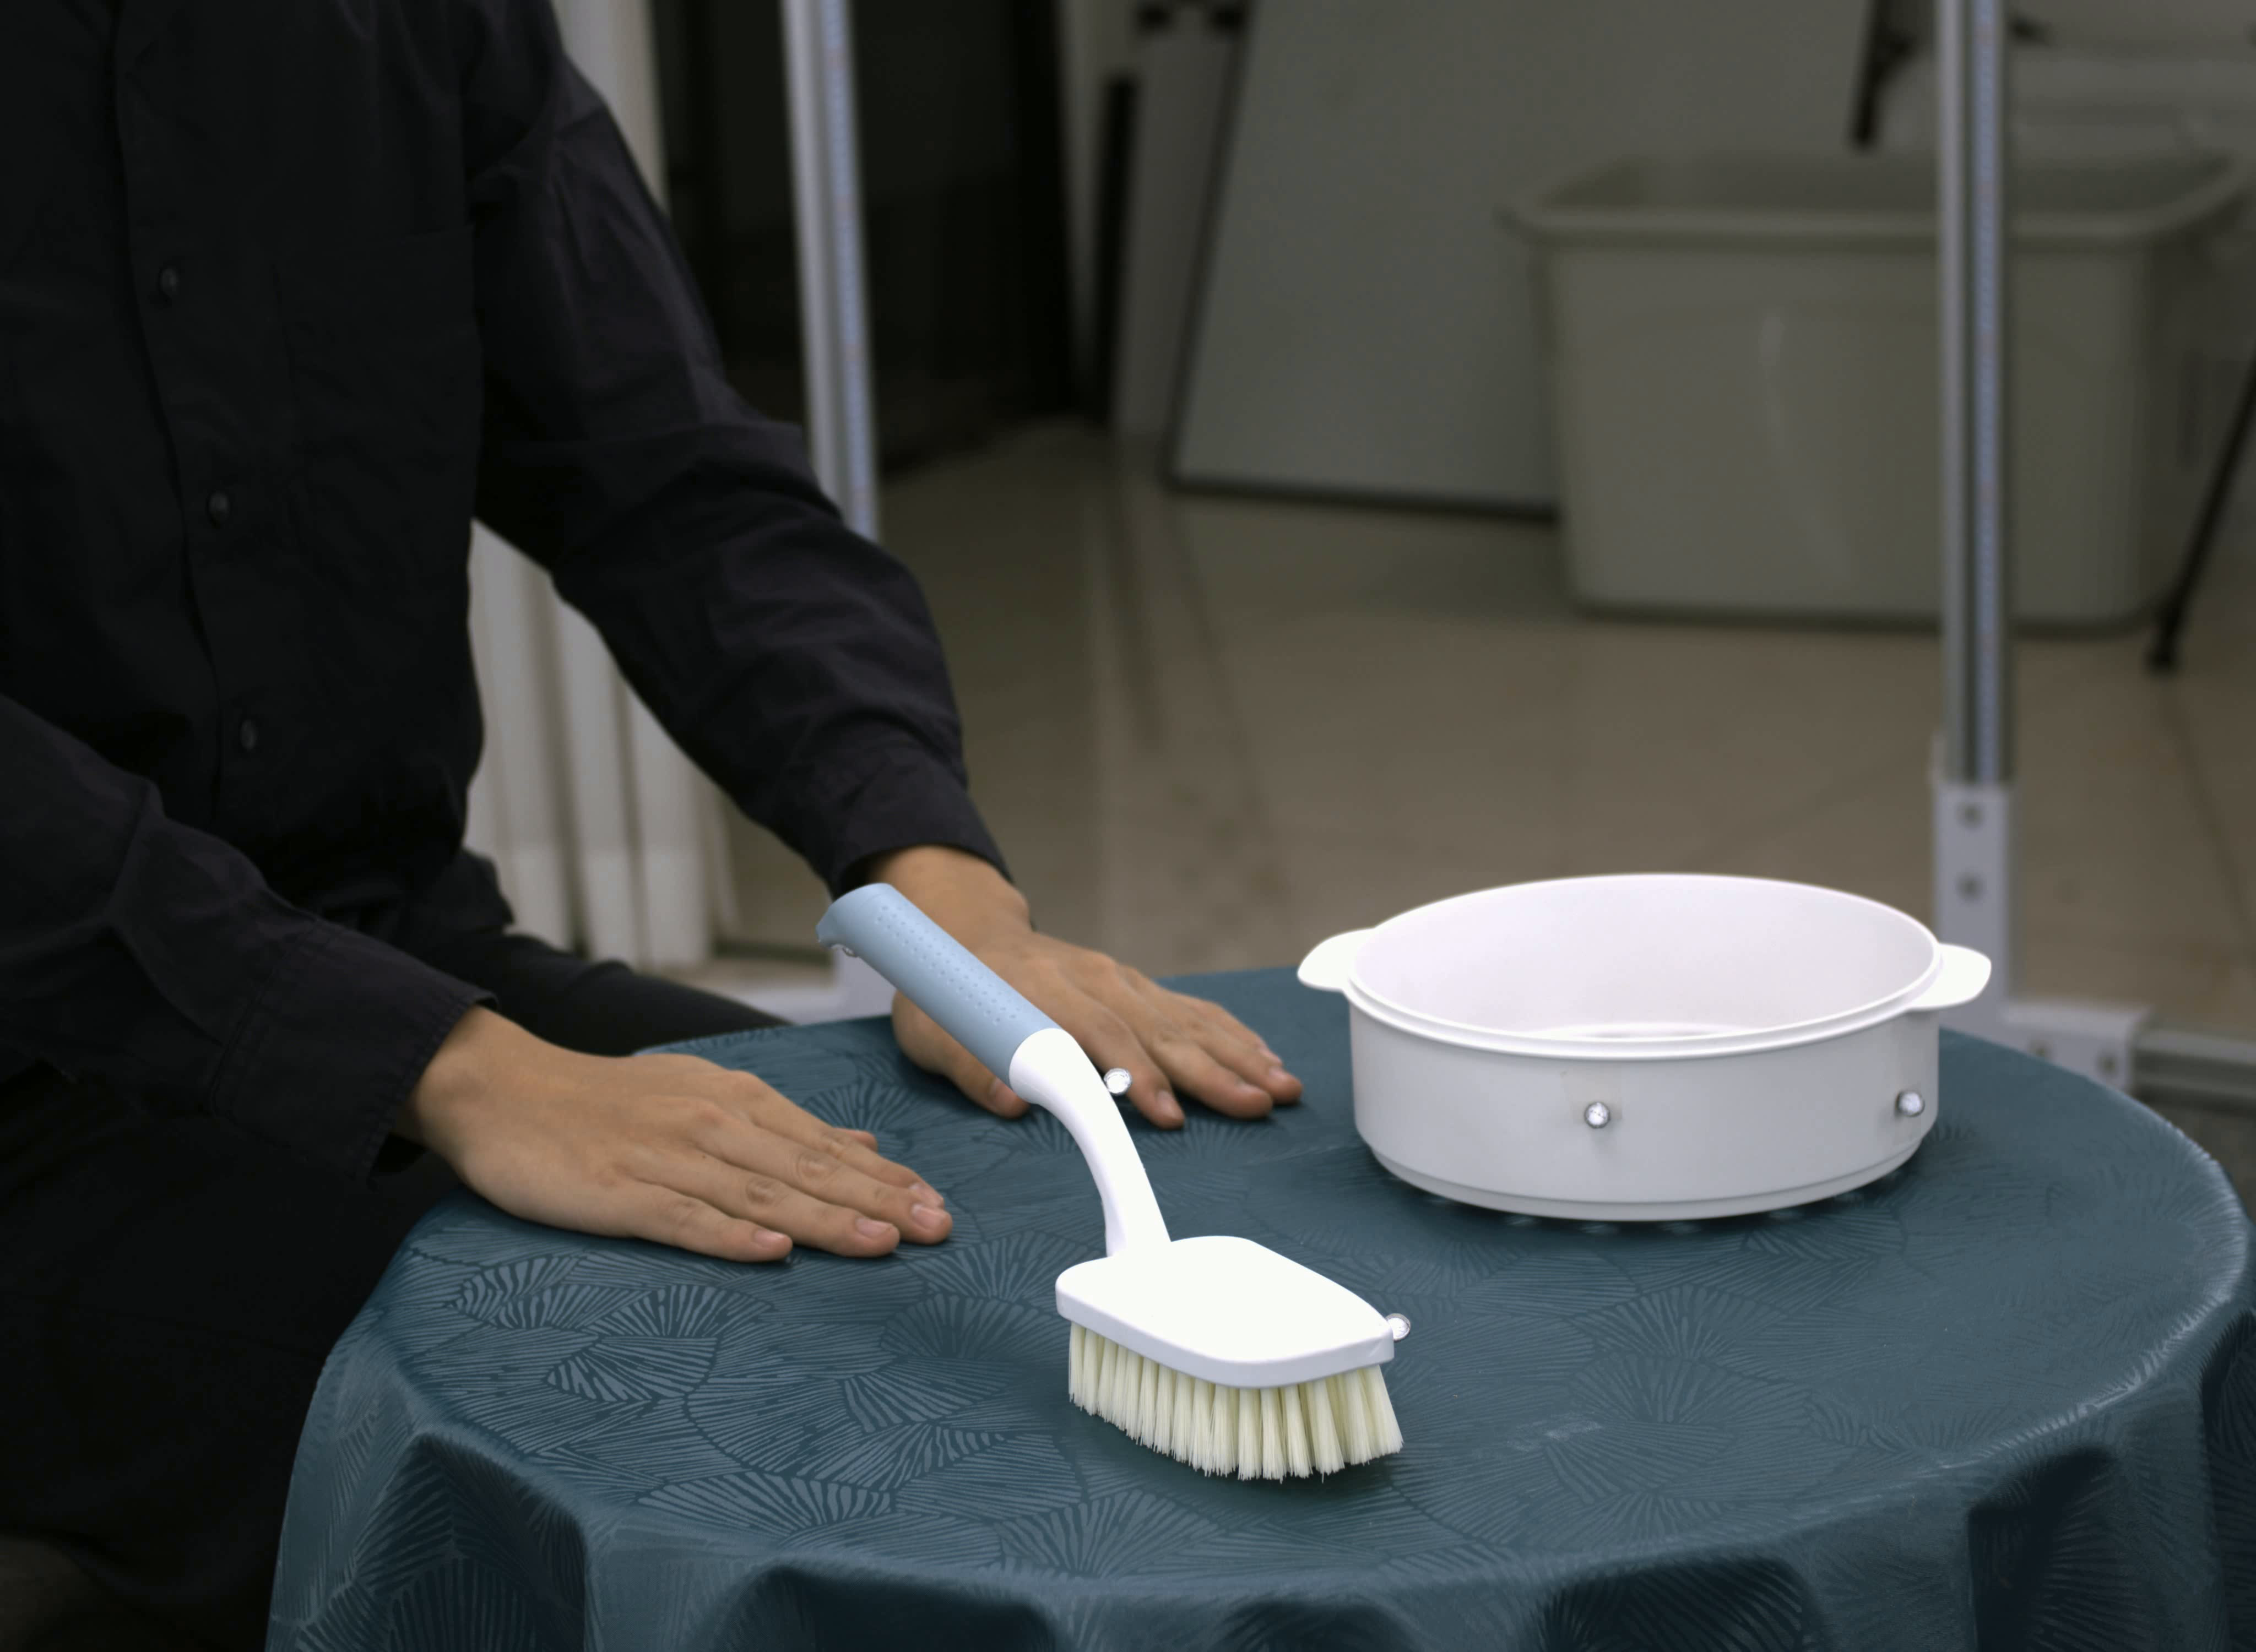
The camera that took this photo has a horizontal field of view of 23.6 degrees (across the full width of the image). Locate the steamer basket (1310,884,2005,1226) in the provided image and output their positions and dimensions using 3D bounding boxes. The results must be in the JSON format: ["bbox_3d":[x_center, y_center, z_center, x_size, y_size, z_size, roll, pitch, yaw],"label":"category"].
[{"bbox_3d":[0.174,0.075,1.774,0.230,0.070,0.200,0,13,17],"label":"steamer basket"}]

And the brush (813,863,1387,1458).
[{"bbox_3d":[-0.014,0.113,1.631,0.081,0.085,0.329,32,3,-37],"label":"brush"}]
